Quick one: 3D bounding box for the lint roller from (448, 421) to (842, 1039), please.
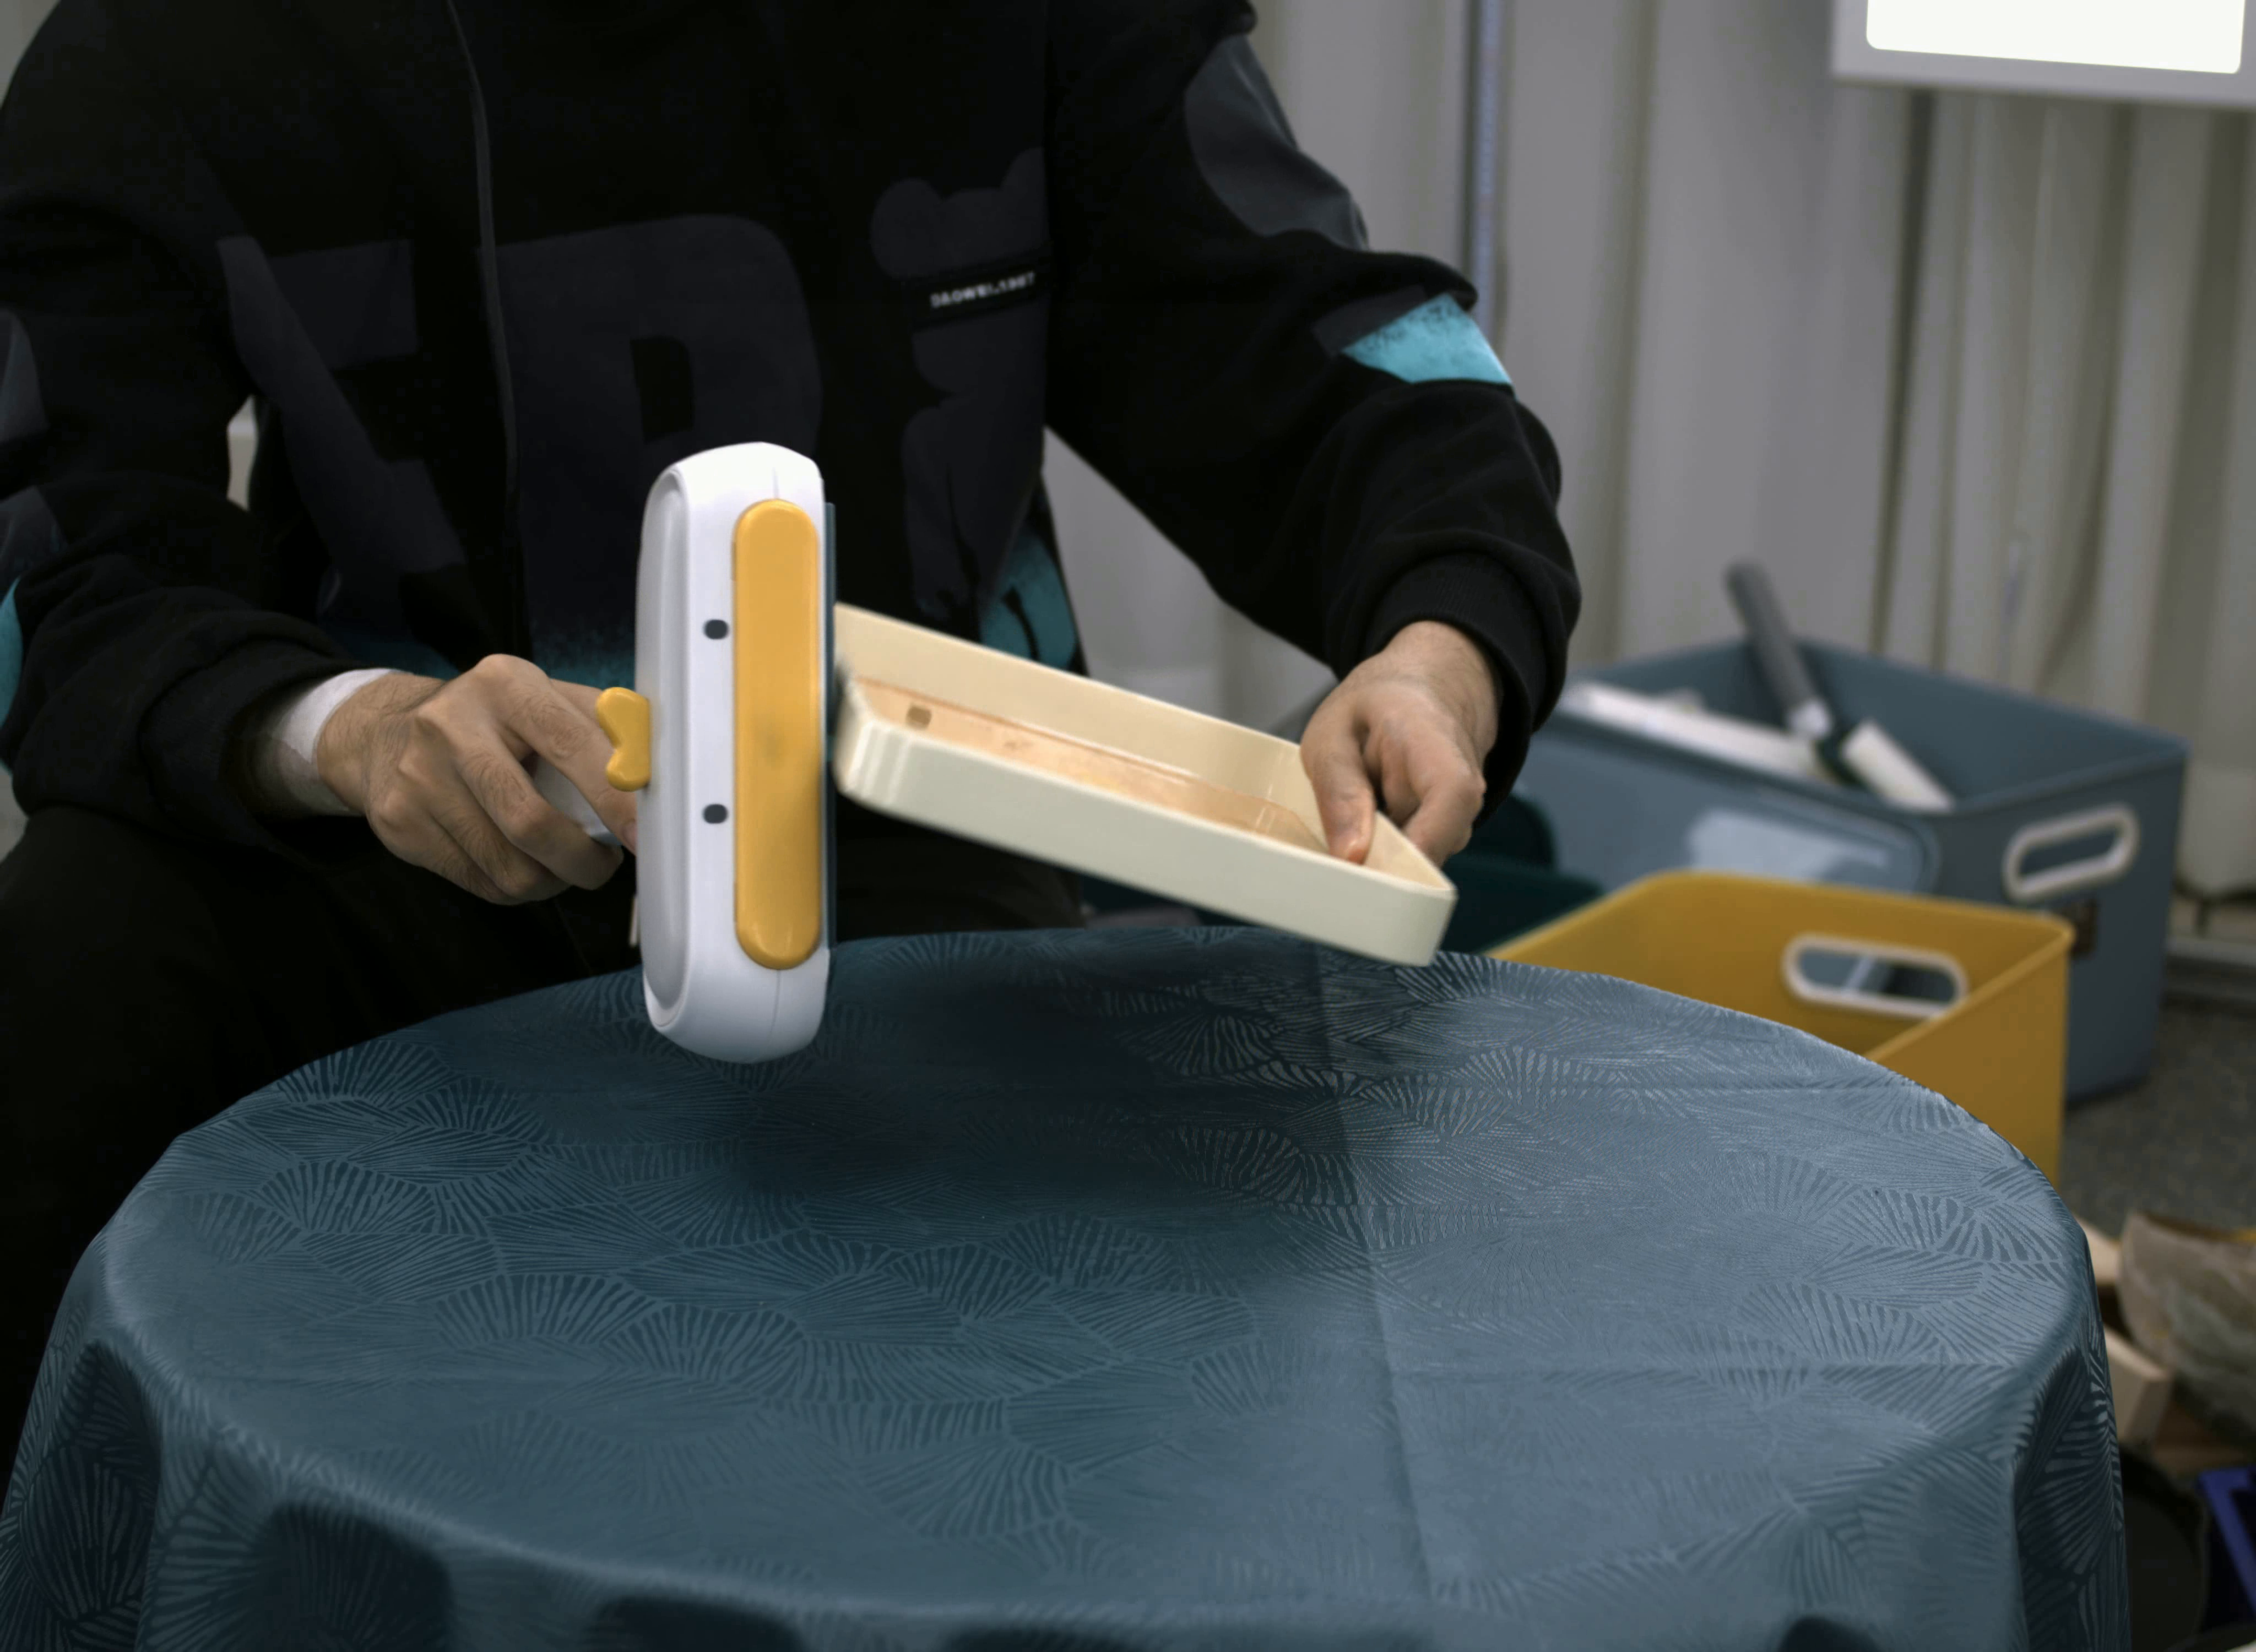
[{"bbox_3d":[-0.154,-0.017,1.671,0.074,0.192,0.191,0,-13,-30],"label":"lint roller"}]

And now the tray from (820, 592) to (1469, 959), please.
[{"bbox_3d":[-0.006,-0.020,1.700,0.192,0.027,0.298,18,6,-10],"label":"tray"}]
